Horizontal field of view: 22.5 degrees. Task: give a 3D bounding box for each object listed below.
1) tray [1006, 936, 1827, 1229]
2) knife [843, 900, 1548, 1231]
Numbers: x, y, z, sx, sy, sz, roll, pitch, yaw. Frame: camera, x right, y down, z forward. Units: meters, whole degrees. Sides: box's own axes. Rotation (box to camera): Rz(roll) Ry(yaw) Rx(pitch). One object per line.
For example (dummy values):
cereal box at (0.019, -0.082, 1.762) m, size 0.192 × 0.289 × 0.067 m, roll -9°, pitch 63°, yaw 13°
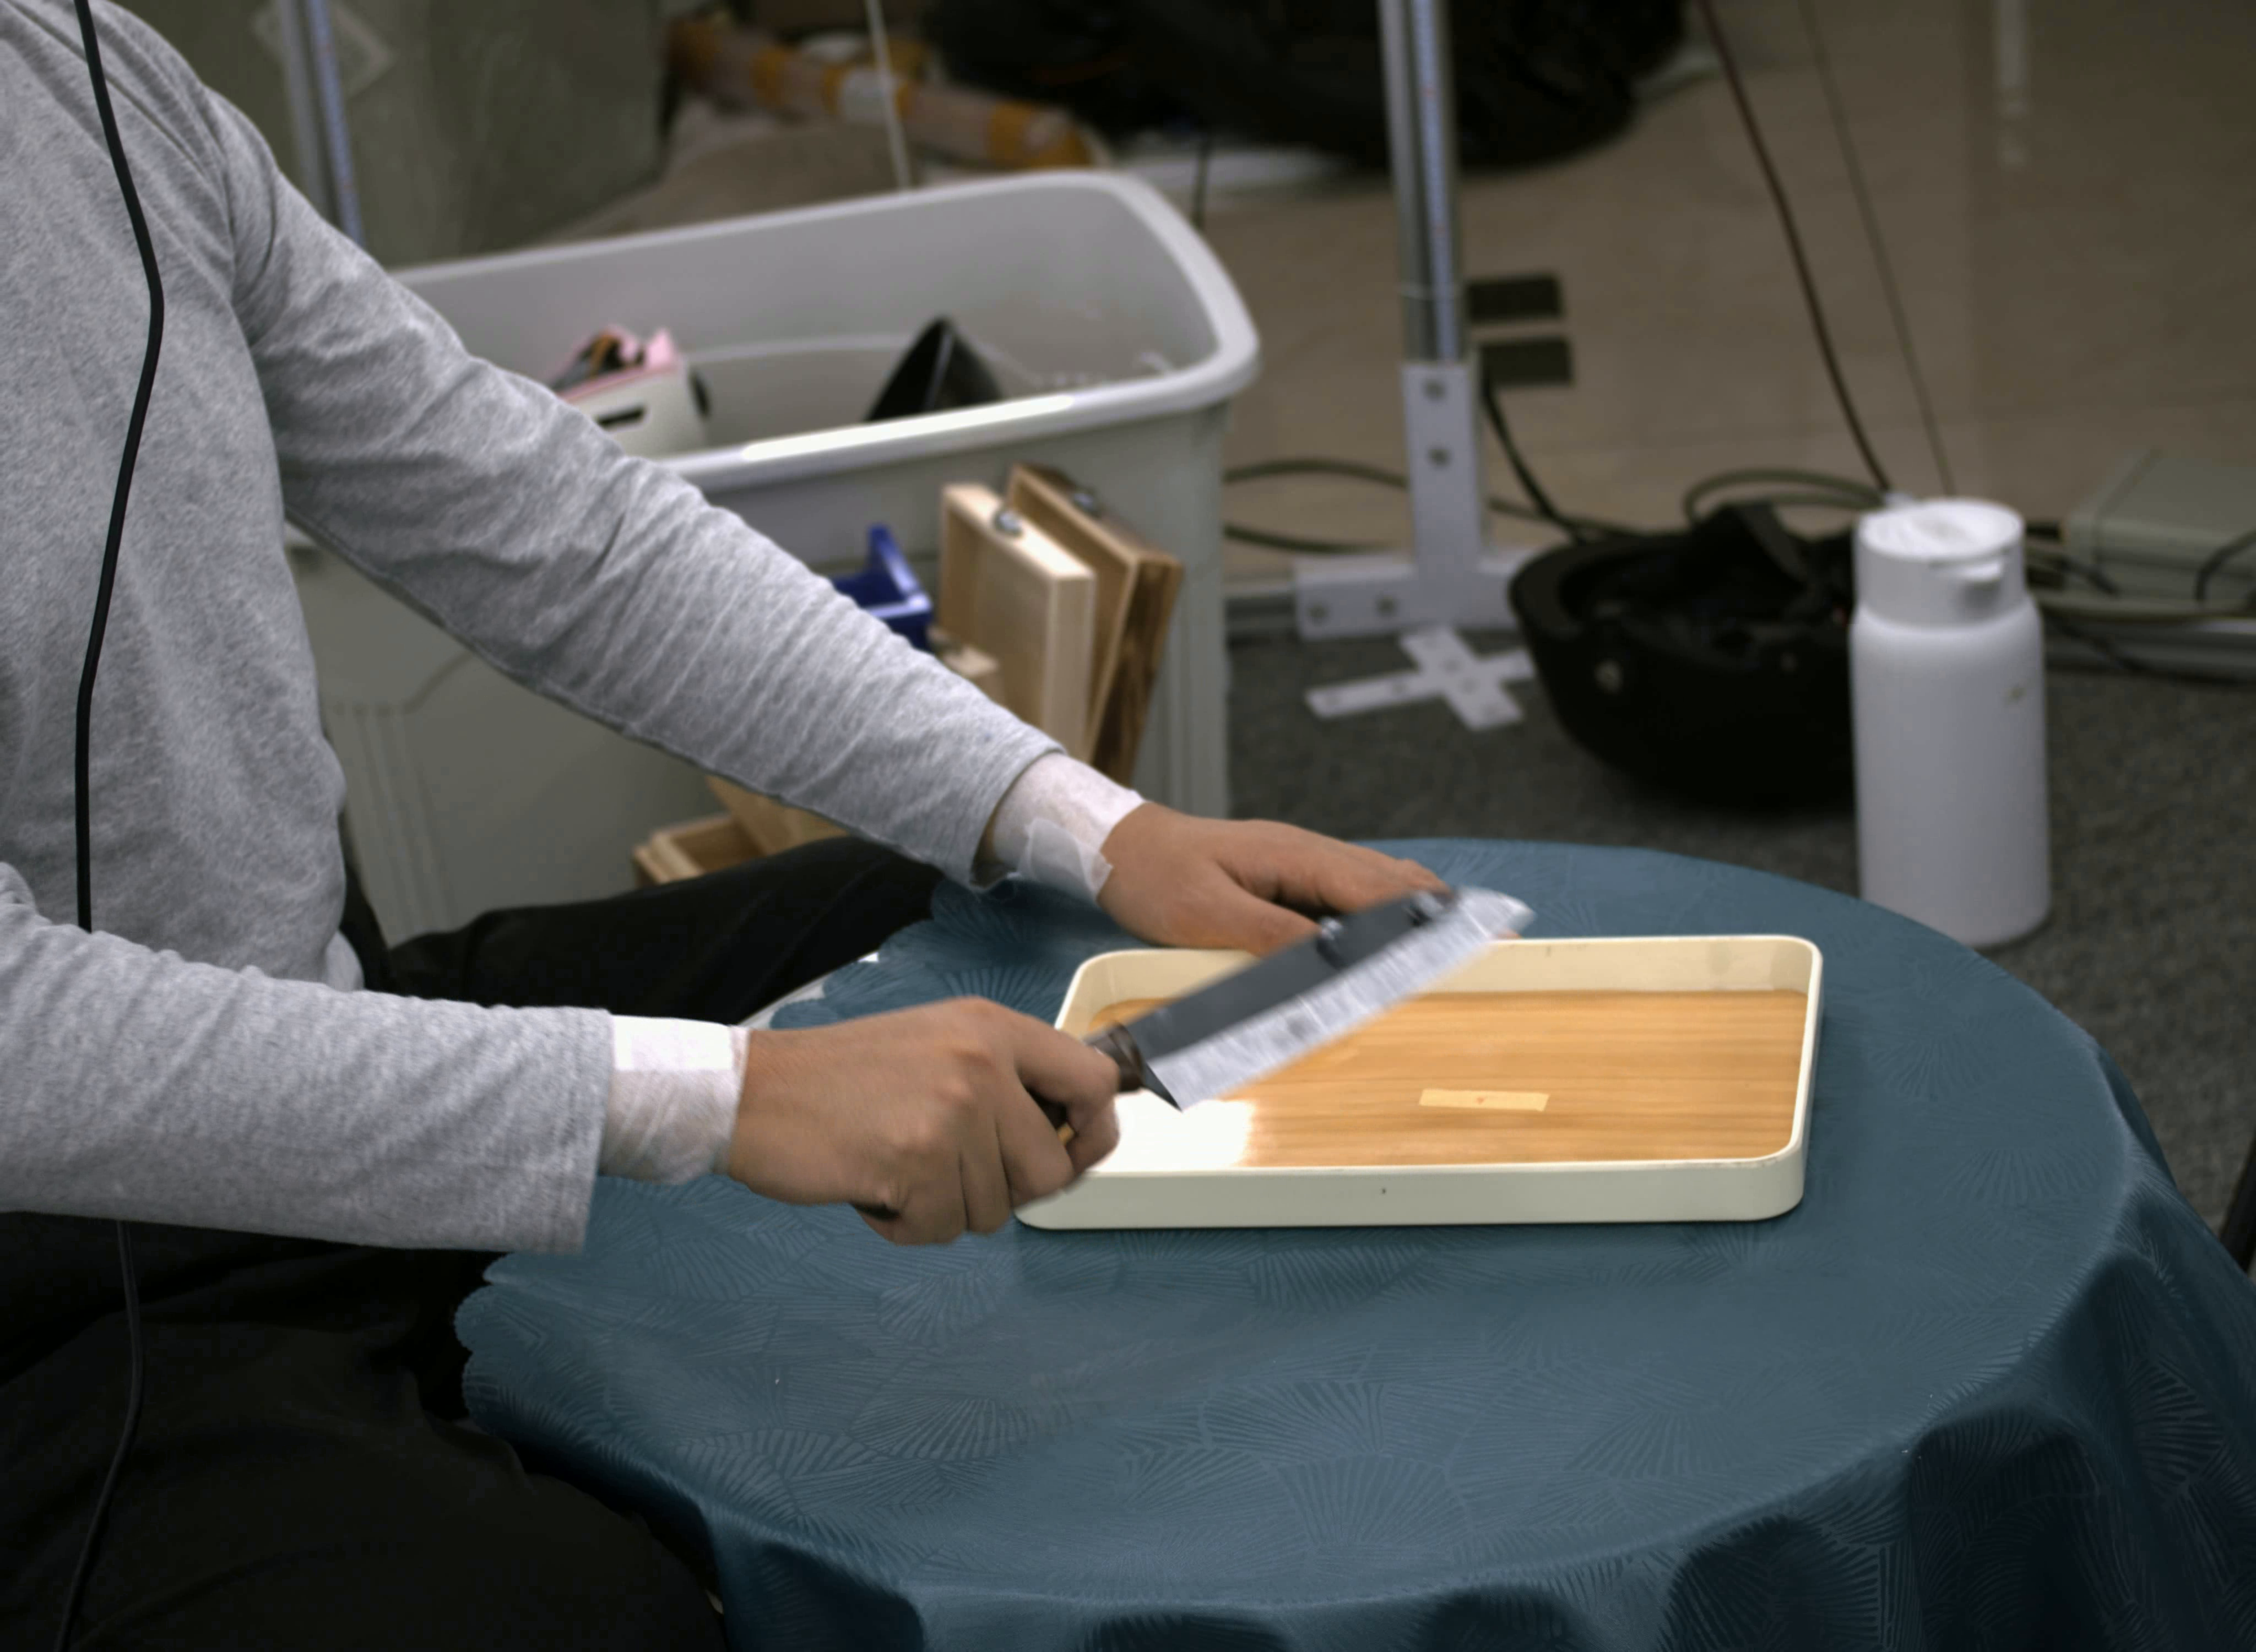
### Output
tray at (0.114, 0.098, 2.181) m, size 0.300 × 0.028 × 0.189 m, roll -2°, pitch 25°, yaw 11°
knife at (0.028, 0.082, 2.009) m, size 0.287 × 0.020 × 0.049 m, roll -21°, pitch 61°, yaw -23°
